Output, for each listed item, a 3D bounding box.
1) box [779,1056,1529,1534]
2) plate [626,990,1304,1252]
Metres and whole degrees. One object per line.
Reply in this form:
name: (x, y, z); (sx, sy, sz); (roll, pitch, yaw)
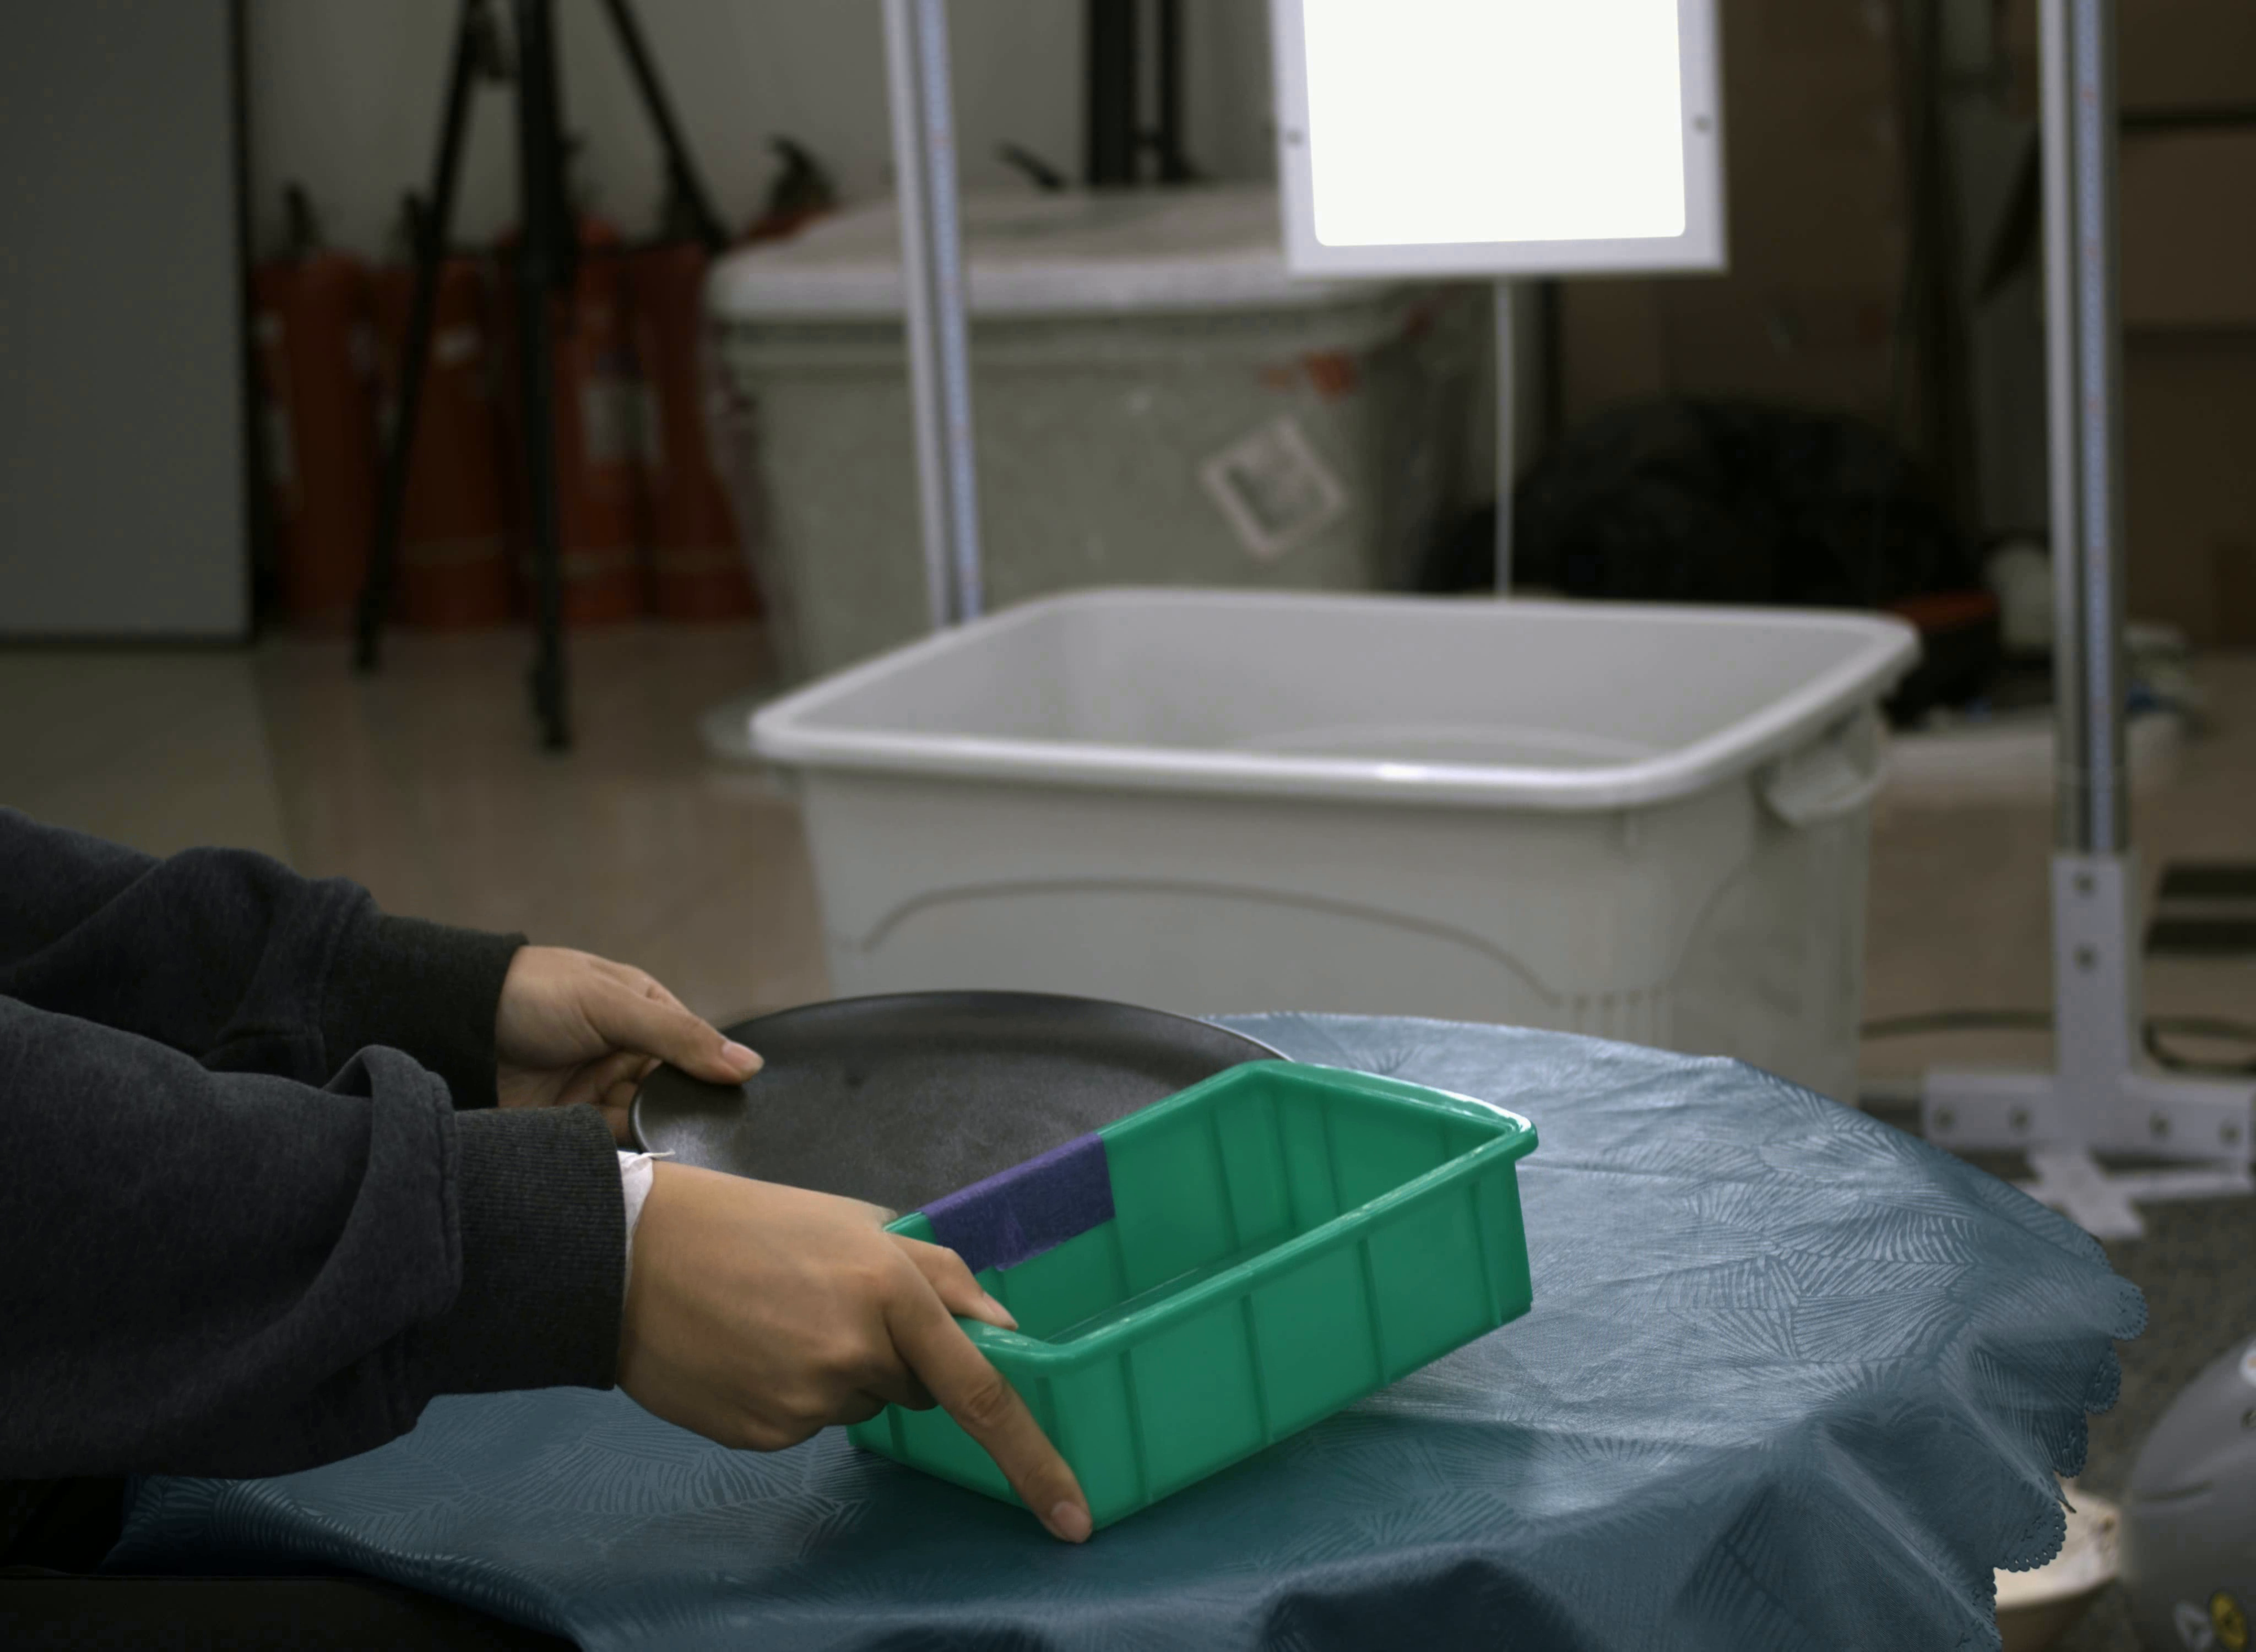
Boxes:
box: (0.014, 0.140, 1.666); (0.205, 0.065, 0.141); (-24, 20, -34)
plate: (-0.052, 0.107, 1.905); (0.243, 0.023, 0.244); (-1, 18, -1)
